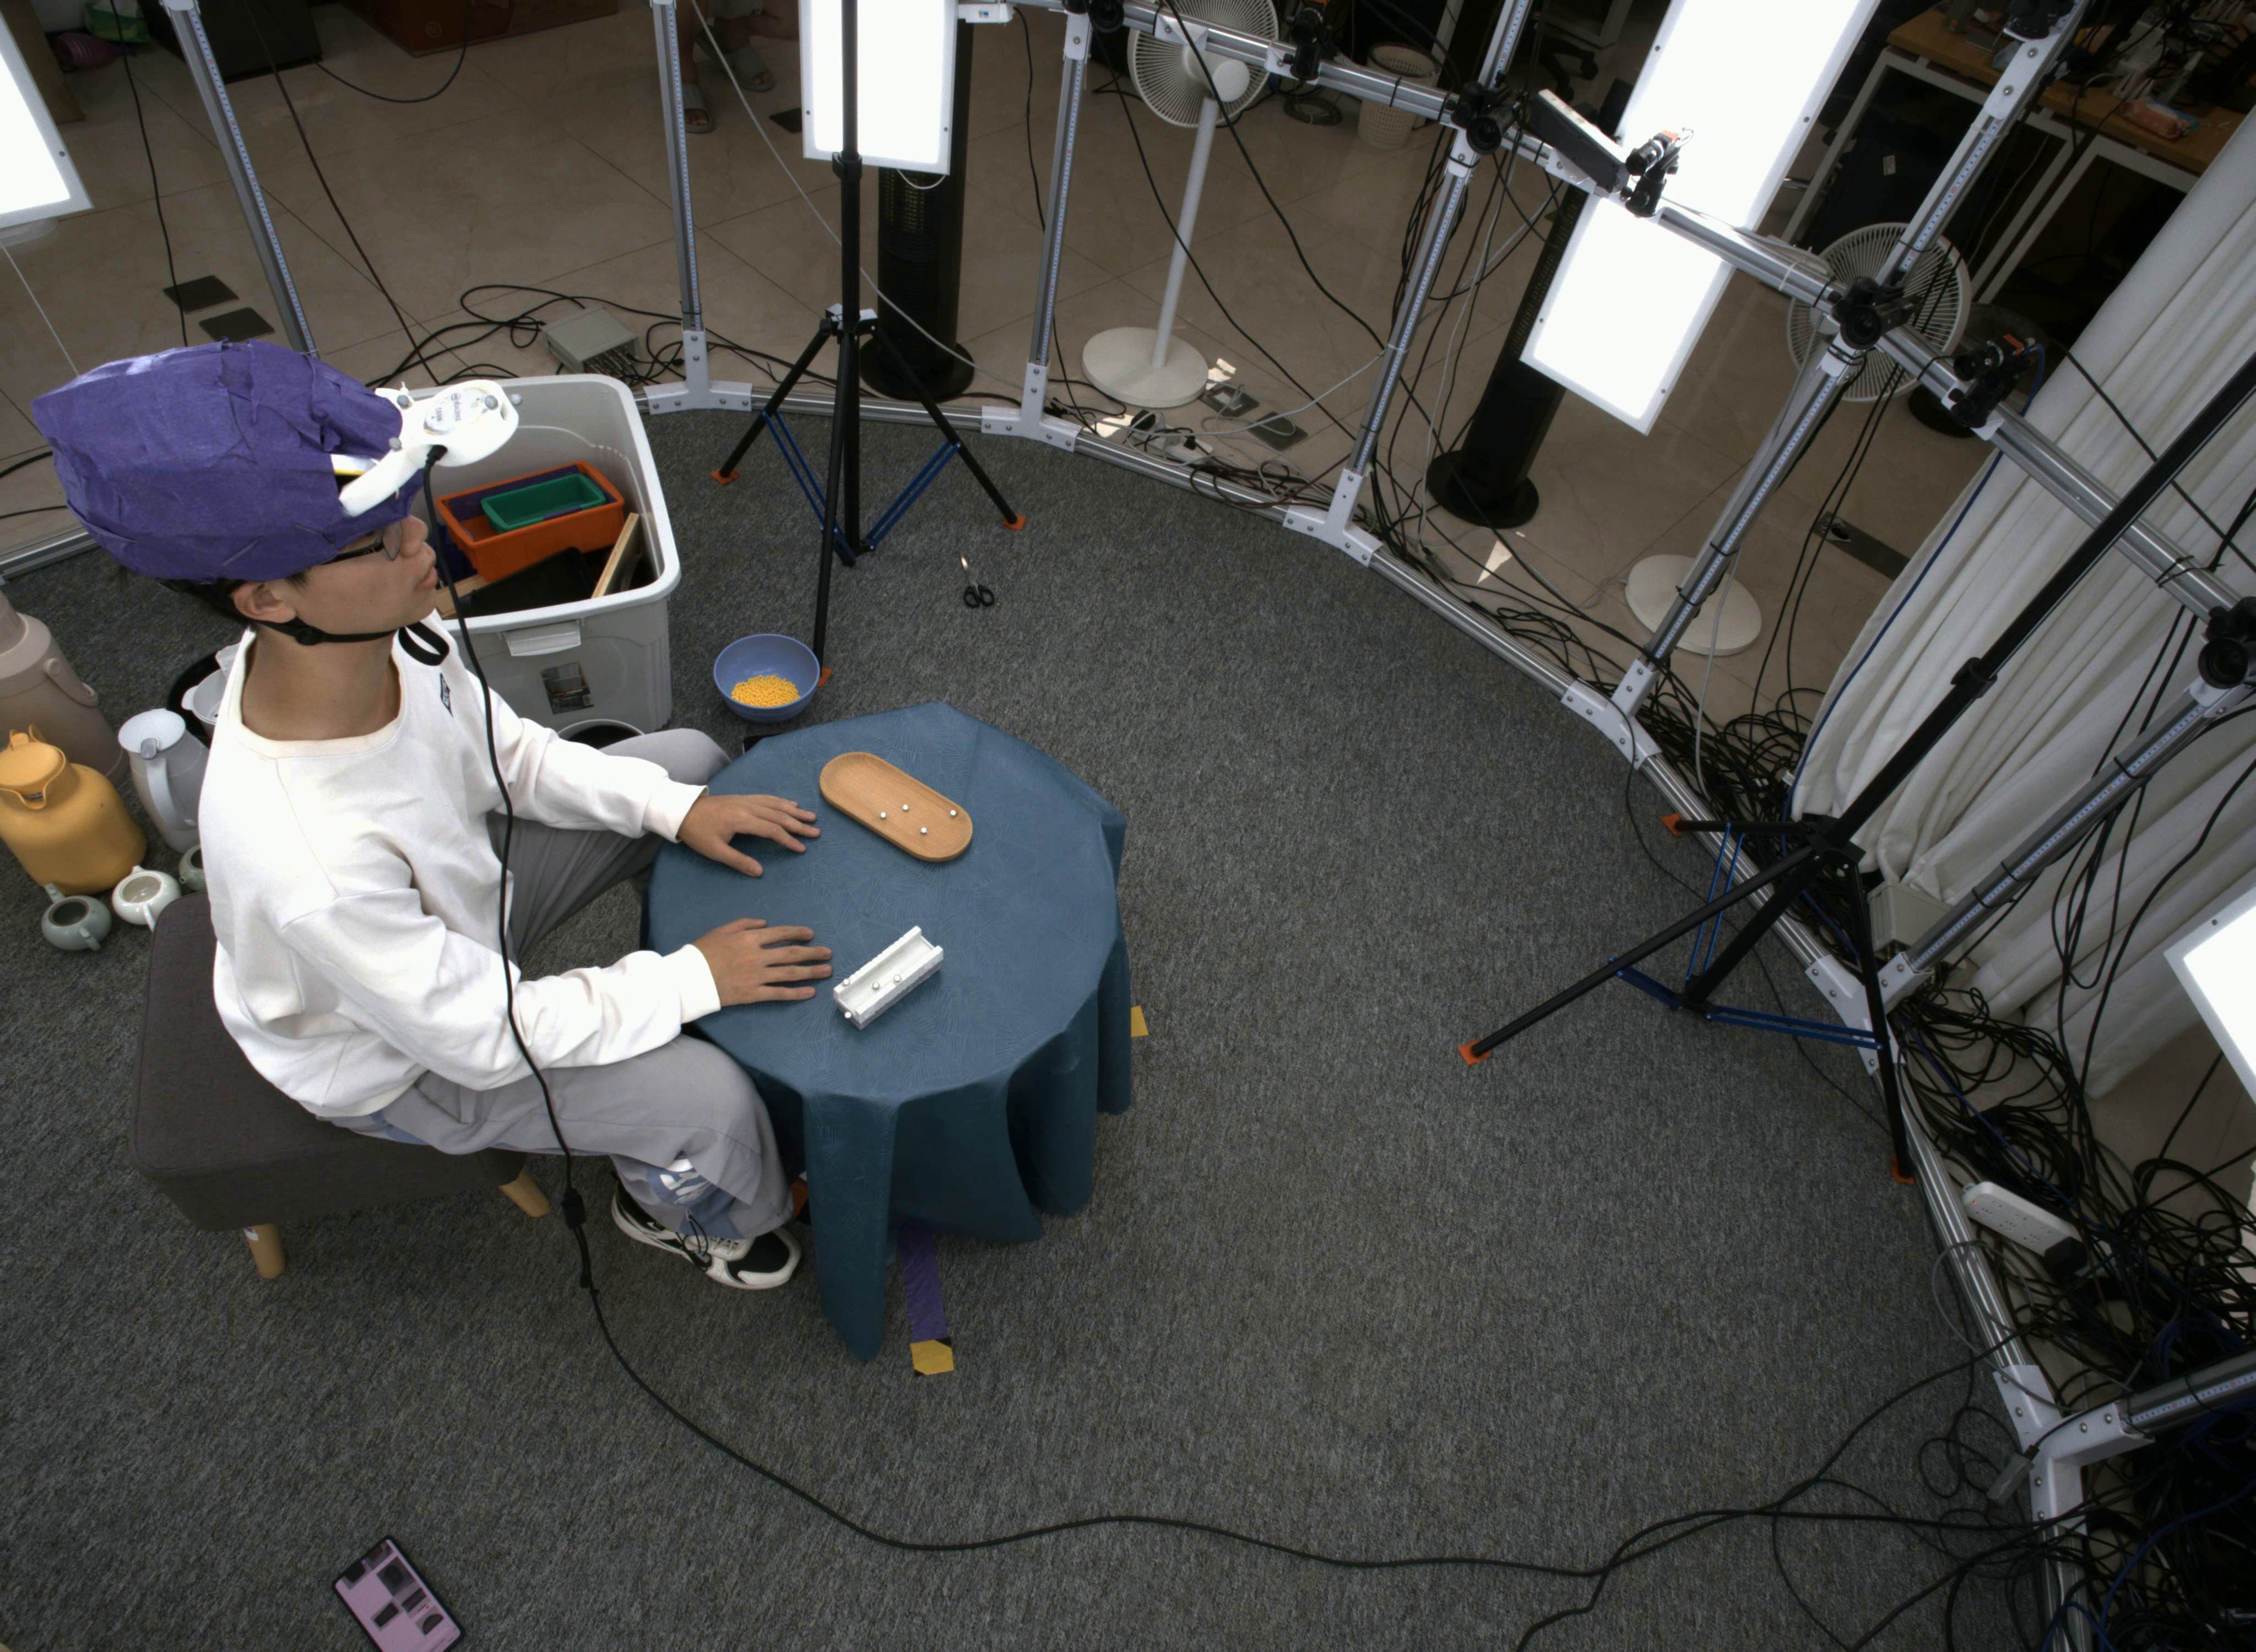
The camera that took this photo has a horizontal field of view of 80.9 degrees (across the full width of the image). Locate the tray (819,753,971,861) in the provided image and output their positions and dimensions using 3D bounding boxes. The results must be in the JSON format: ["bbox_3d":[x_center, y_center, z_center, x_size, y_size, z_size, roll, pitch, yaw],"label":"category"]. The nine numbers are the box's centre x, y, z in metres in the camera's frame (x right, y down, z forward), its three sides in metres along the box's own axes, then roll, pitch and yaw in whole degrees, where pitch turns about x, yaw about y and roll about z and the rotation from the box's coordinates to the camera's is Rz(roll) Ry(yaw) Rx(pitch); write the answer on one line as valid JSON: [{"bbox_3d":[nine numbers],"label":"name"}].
[{"bbox_3d":[-0.317,-0.027,1.770,0.227,0.021,0.101,29,52,11],"label":"tray"}]

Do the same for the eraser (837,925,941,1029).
[{"bbox_3d":[-0.293,0.184,1.599,0.048,0.048,0.134,33,54,20],"label":"eraser"}]
